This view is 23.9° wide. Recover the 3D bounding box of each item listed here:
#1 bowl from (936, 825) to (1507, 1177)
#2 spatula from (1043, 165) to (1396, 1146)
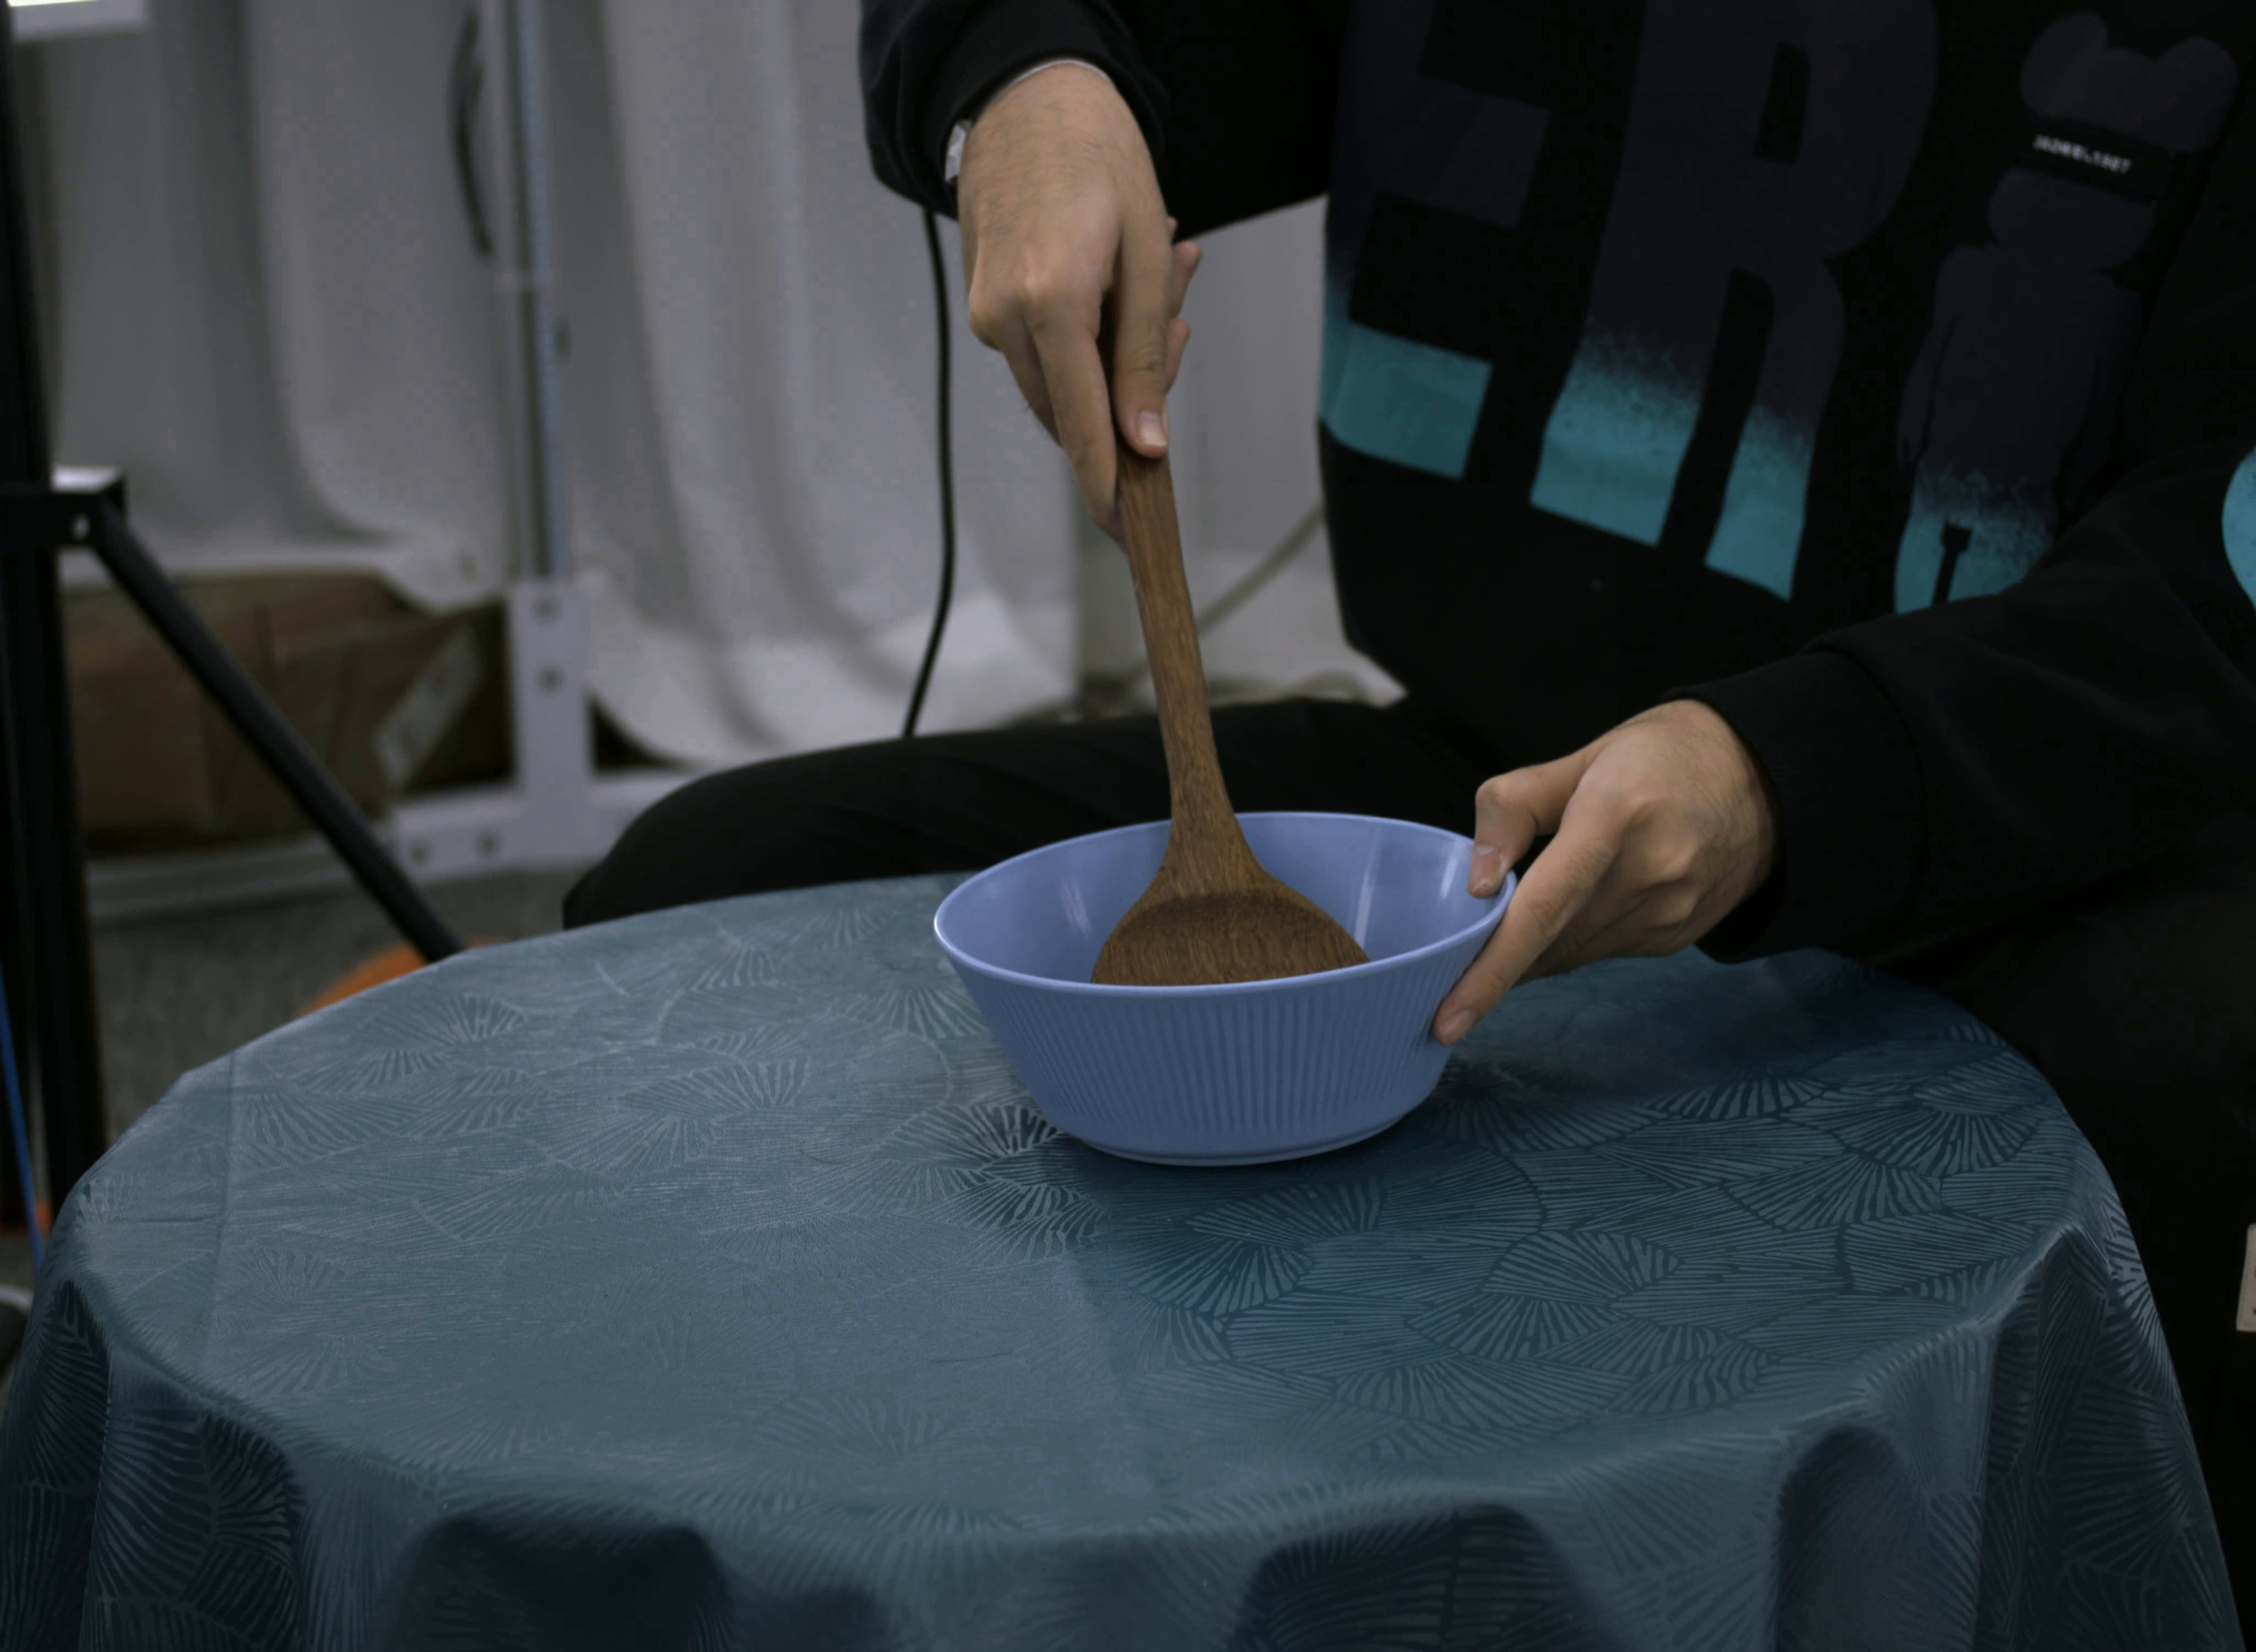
[{"bbox_3d":[0.032,0.056,1.611,0.175,0.070,0.177,-9,15,1],"label":"bowl"},{"bbox_3d":[0.012,-0.064,1.682,0.095,0.016,0.391,-4,56,-9],"label":"spatula"}]
